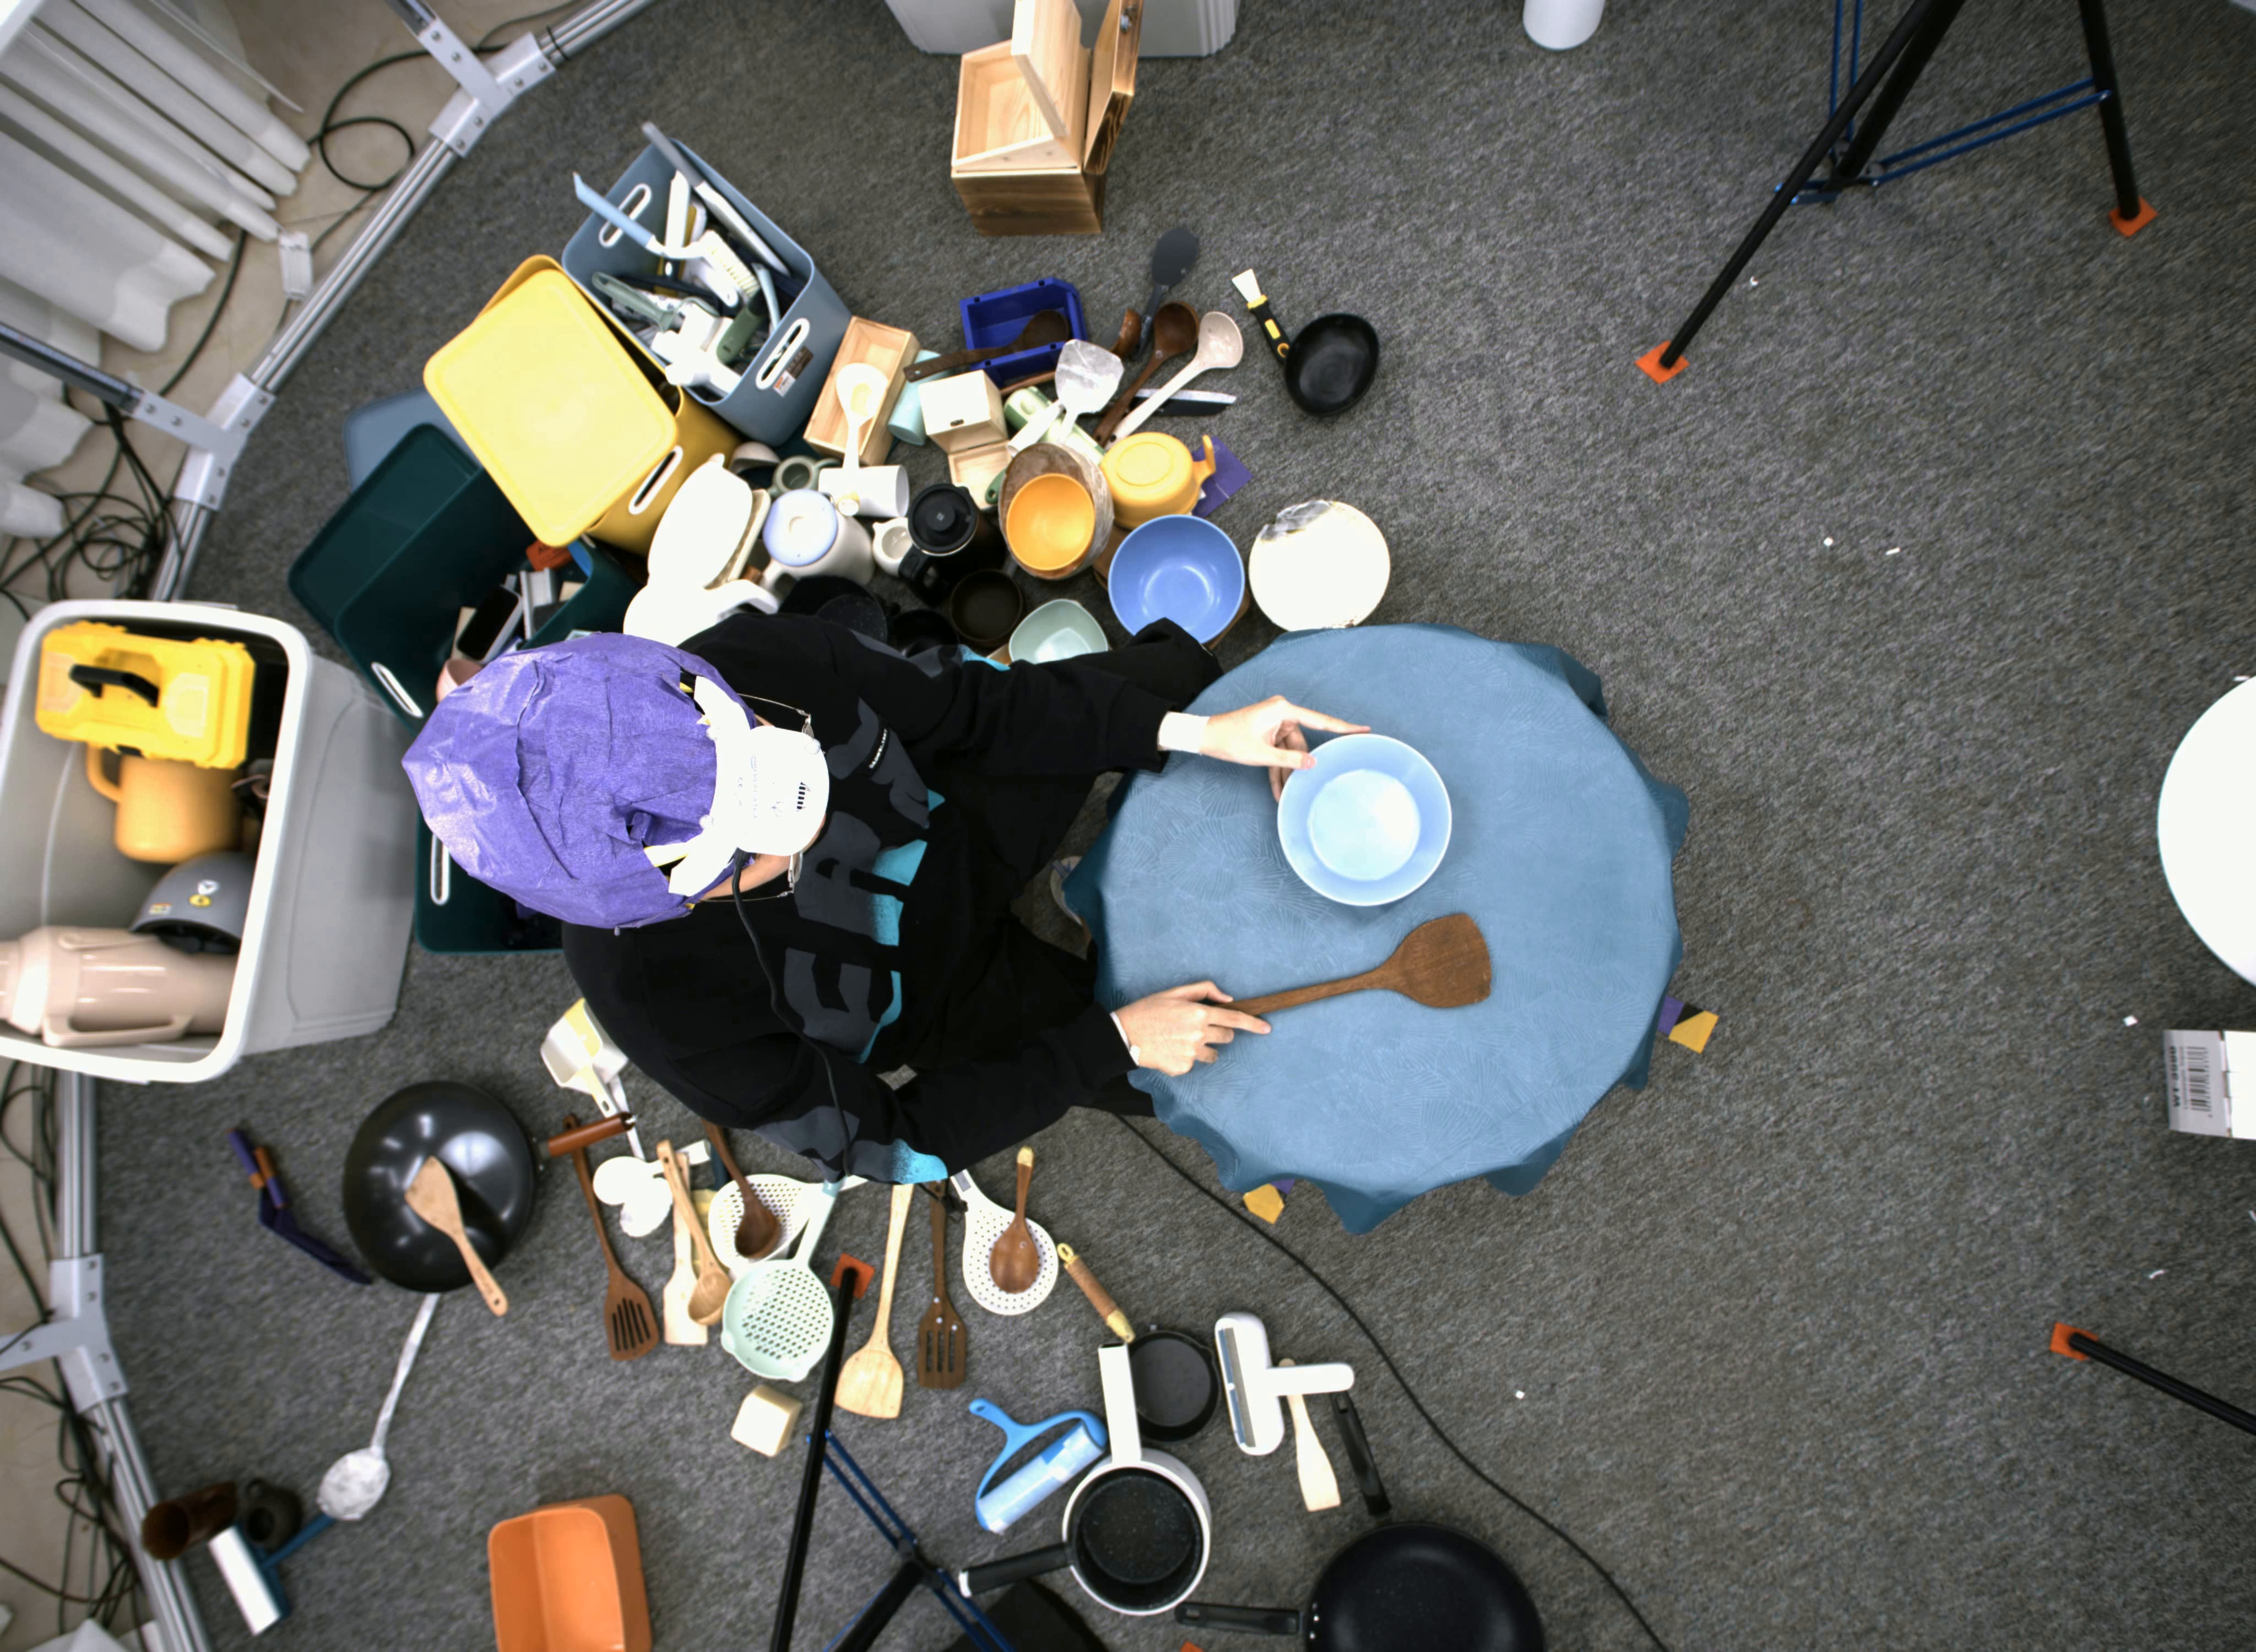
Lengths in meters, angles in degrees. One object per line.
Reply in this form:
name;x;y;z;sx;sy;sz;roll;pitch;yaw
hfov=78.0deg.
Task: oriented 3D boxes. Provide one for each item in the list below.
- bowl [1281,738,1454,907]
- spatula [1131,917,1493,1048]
bowl;0.250;-0.002;1.438;0.177;0.070;0.175;-1;85;12
spatula;0.190;0.180;1.459;0.387;0.016;0.095;-14;83;6
